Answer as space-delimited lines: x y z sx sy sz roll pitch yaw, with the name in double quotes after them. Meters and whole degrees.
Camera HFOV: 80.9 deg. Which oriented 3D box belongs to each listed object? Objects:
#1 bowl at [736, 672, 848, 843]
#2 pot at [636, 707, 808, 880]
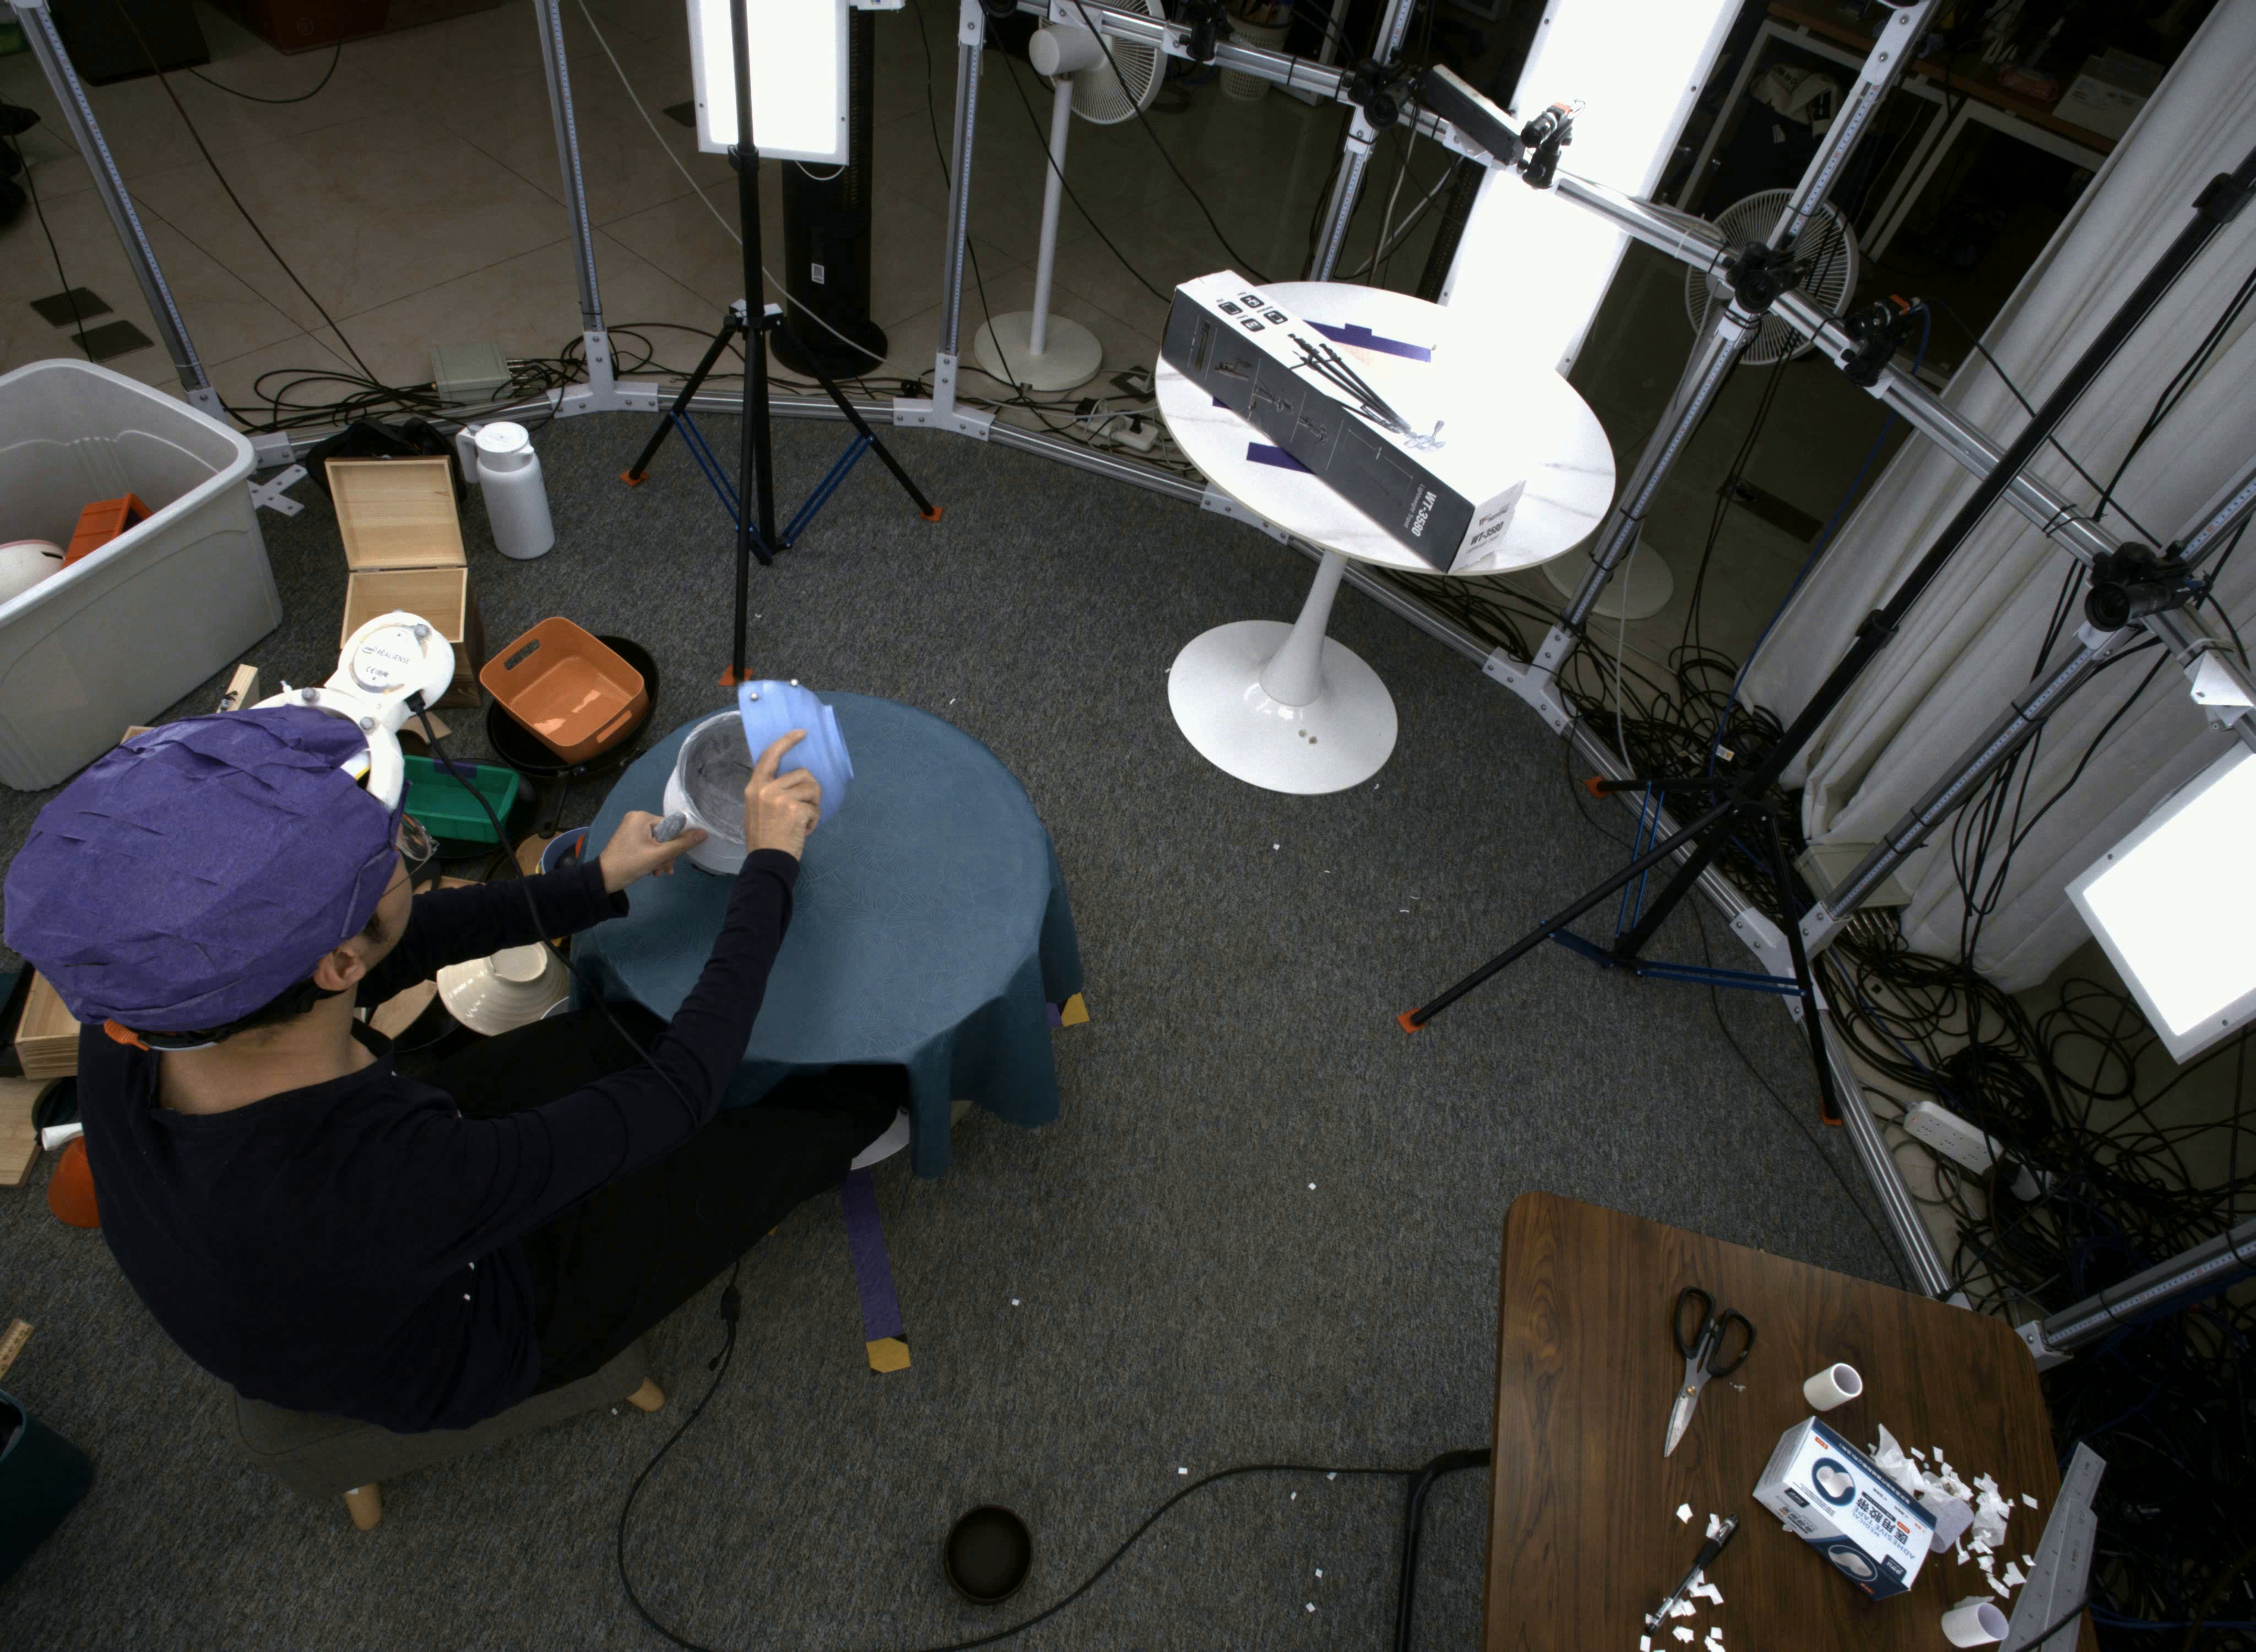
-0.381 -0.088 1.497 0.095 0.202 0.192 -13 56 -8 "bowl"
-0.496 -0.023 1.583 0.179 0.136 0.234 49 54 2 "pot"
